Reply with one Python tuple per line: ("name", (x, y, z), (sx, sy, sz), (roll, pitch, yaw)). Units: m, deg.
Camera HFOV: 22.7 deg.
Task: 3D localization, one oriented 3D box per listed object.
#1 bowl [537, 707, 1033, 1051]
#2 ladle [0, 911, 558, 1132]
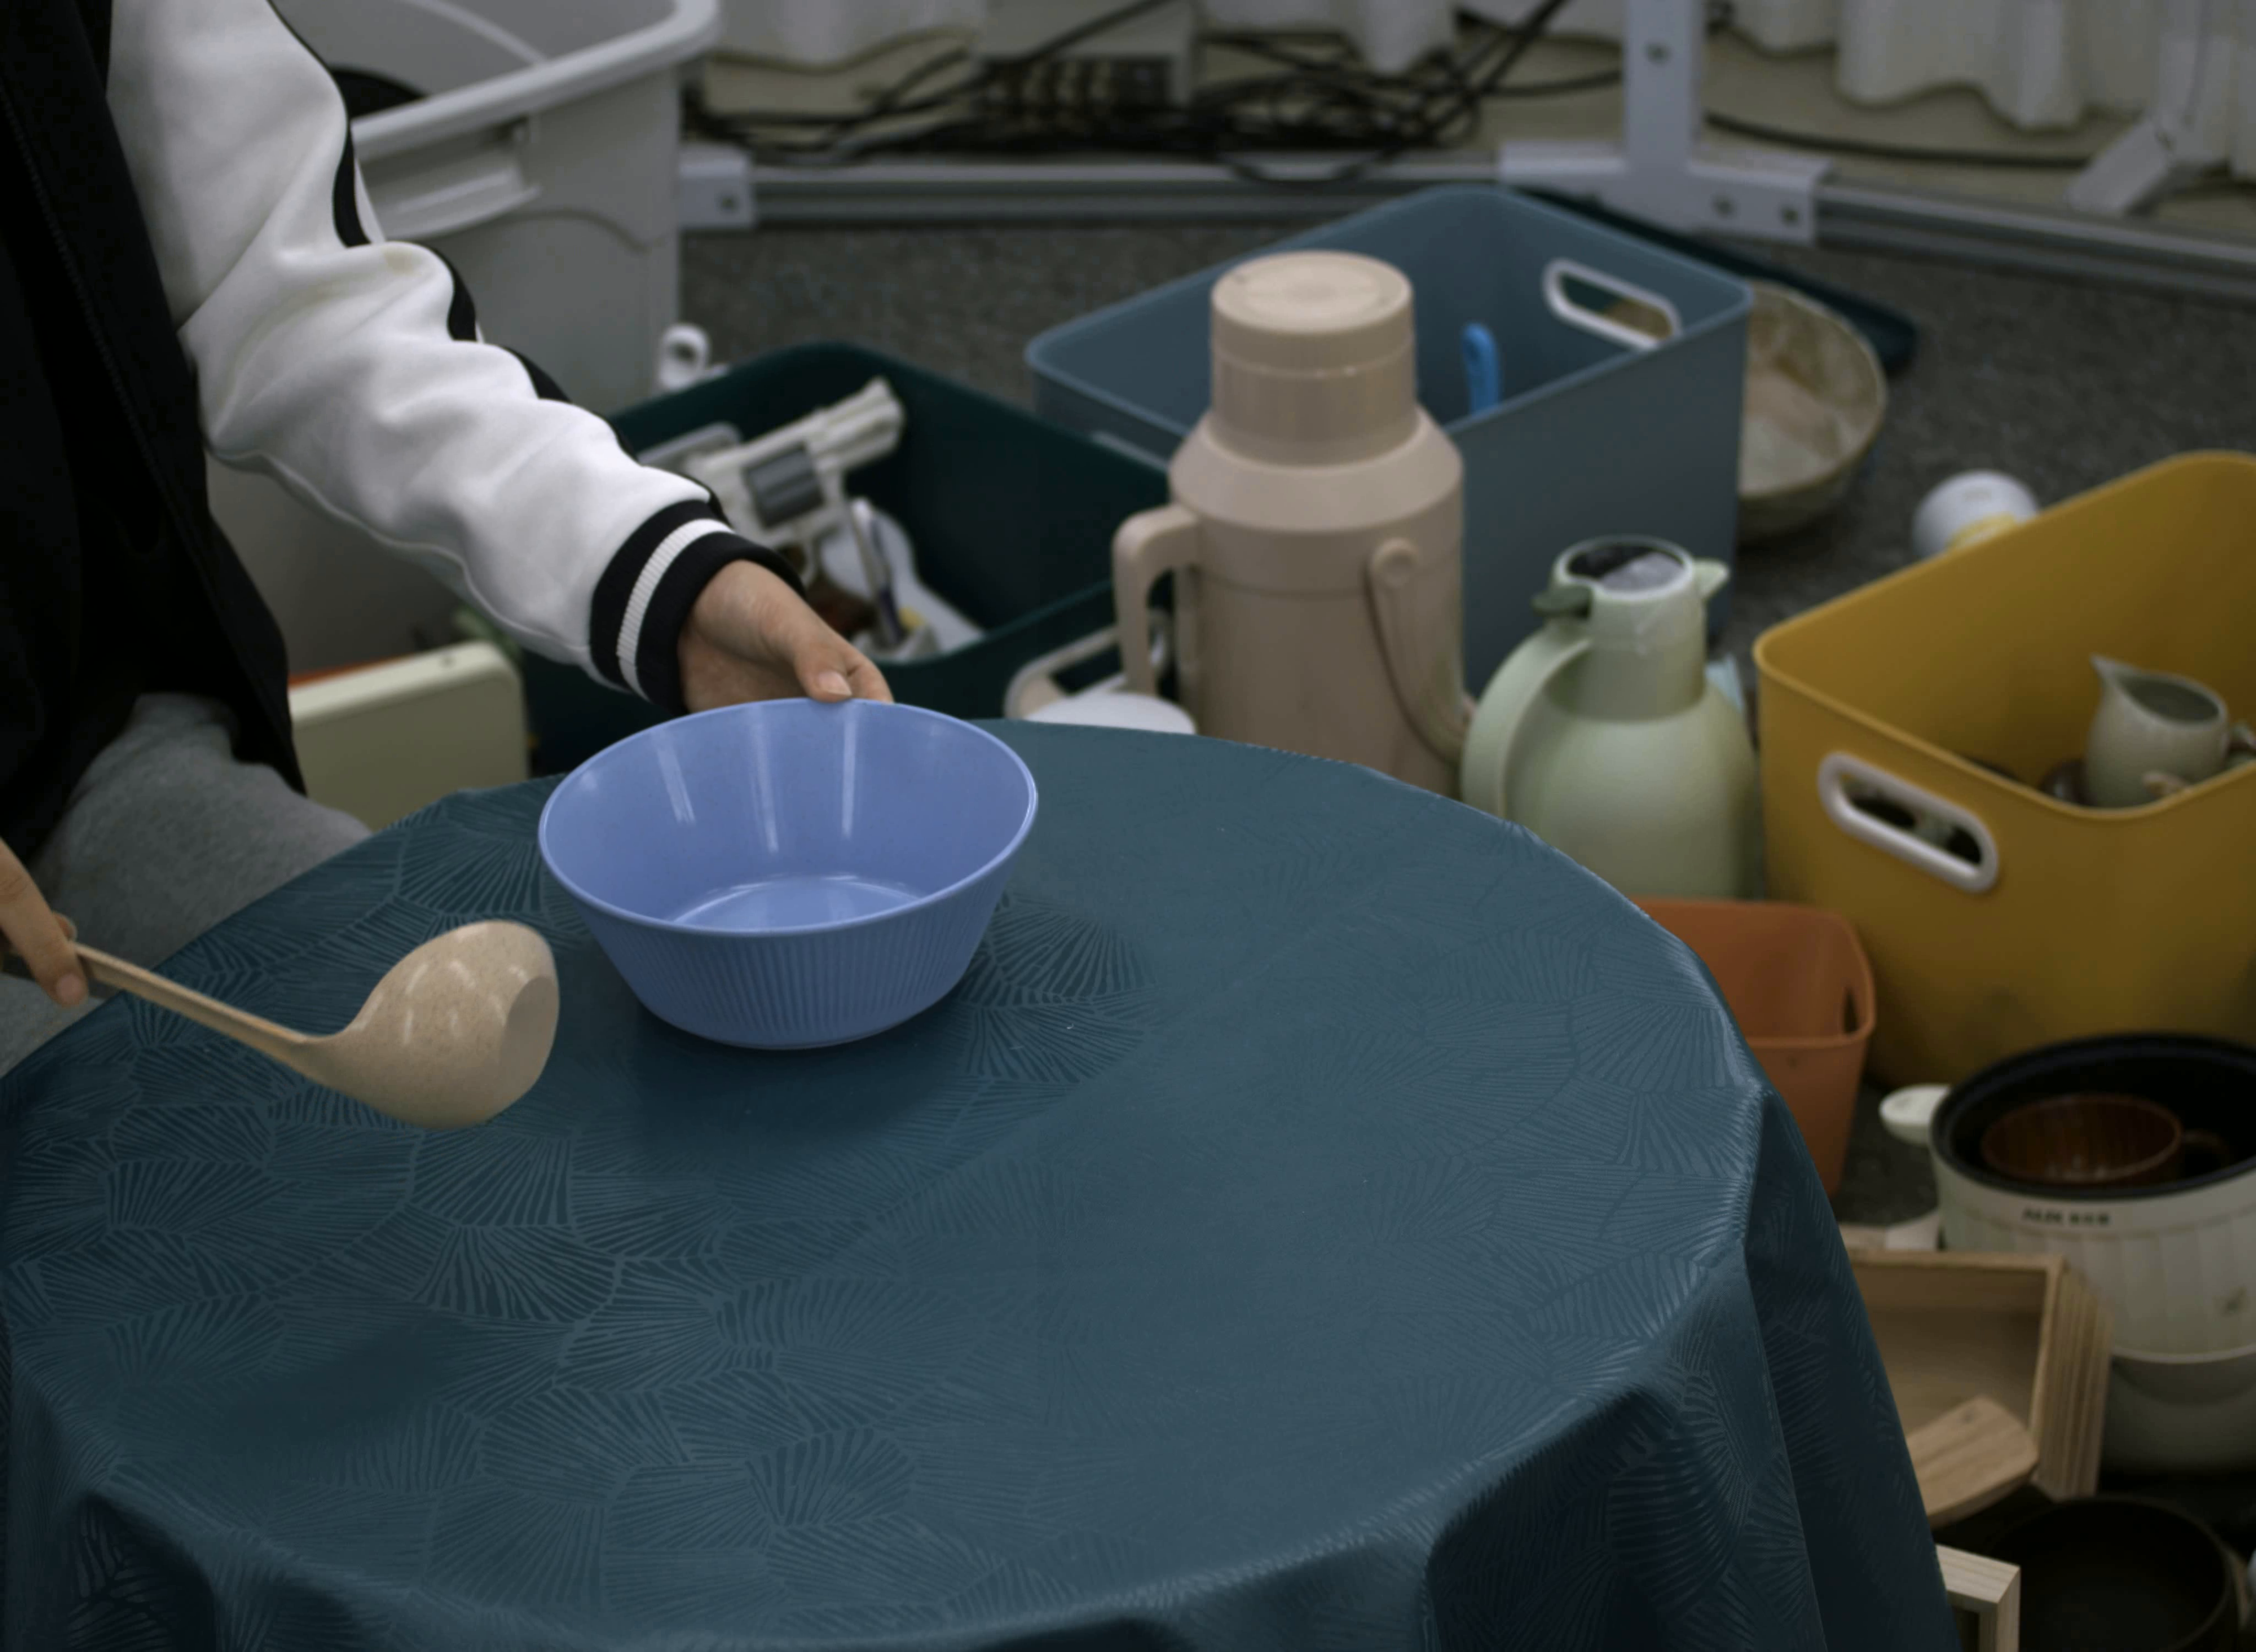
("bowl", (-0.119, 0.024, 1.986), (0.175, 0.069, 0.179), (-2, 26, 1))
("ladle", (-0.302, 0.032, 1.822), (0.253, 0.071, 0.074), (19, 60, 20))
